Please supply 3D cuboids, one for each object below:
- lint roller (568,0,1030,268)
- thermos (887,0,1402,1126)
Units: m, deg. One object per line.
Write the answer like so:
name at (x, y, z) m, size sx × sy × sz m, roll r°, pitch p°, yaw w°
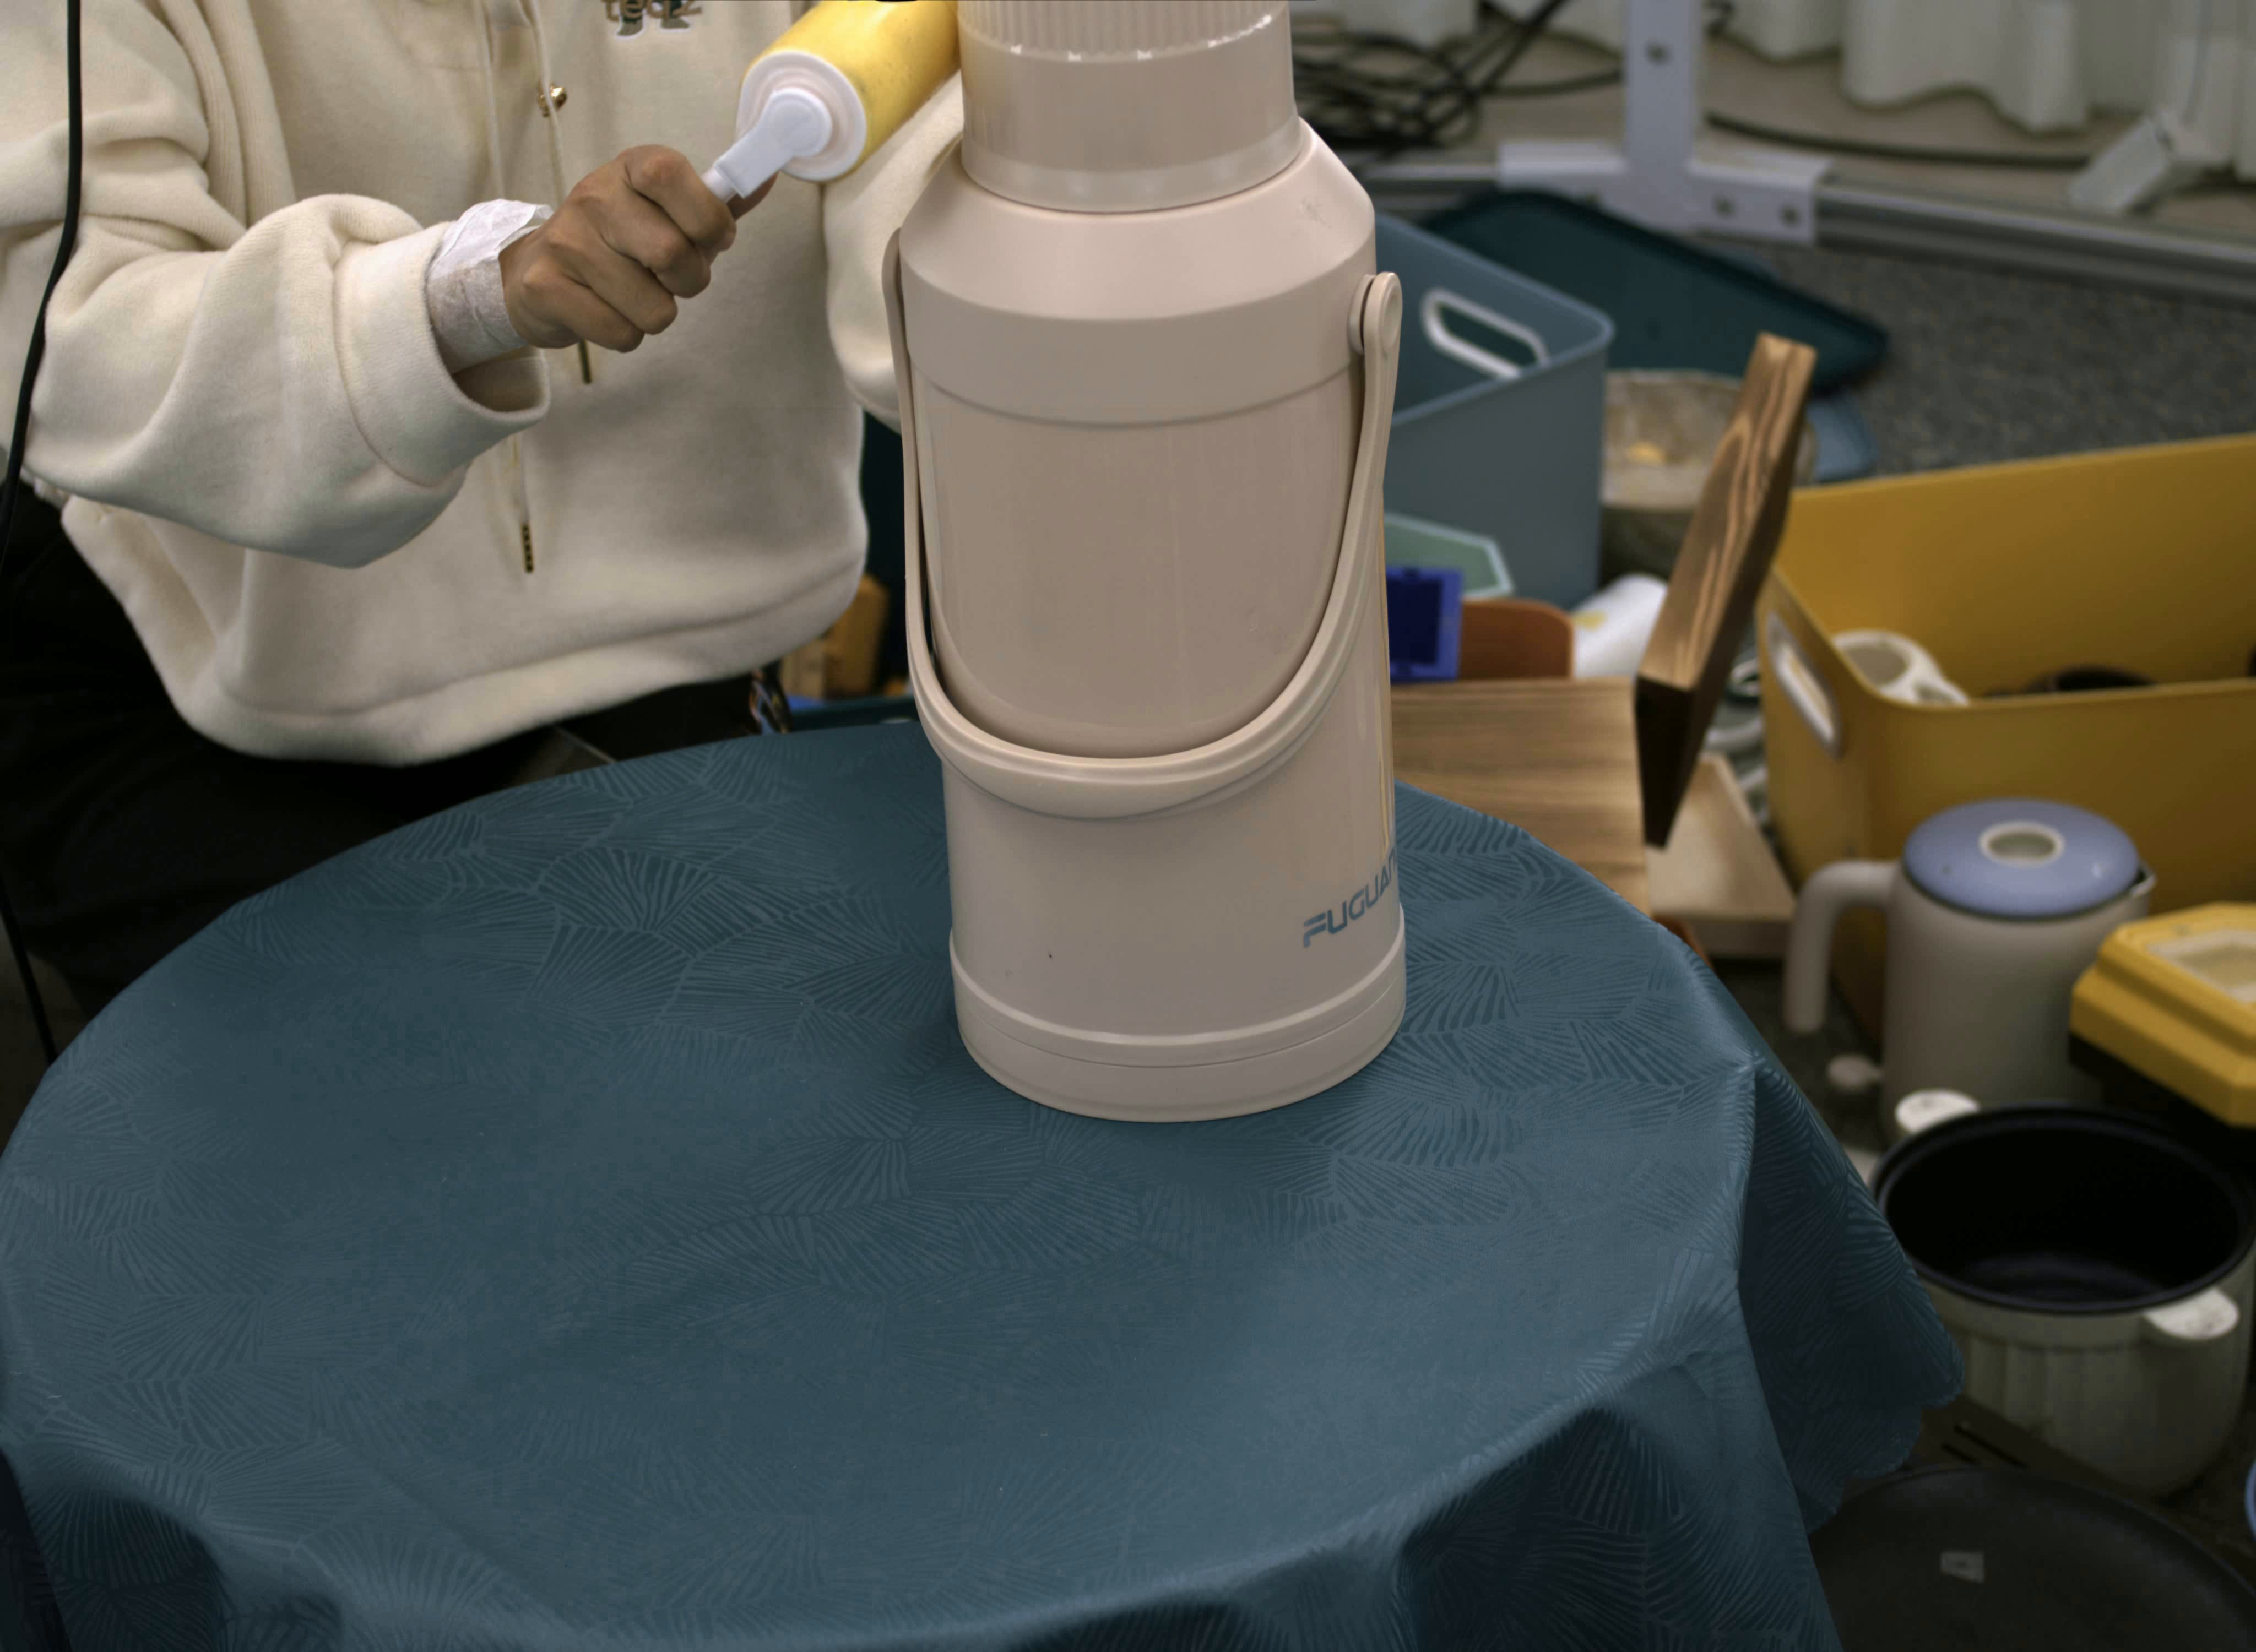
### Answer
lint roller at (-0.124, -0.242, 1.880) m, size 0.189 × 0.051 × 0.177 m, roll -21°, pitch 19°, yaw 32°
thermos at (0.014, -0.116, 1.895) m, size 0.174 × 0.402 × 0.210 m, roll 6°, pitch 28°, yaw 20°
